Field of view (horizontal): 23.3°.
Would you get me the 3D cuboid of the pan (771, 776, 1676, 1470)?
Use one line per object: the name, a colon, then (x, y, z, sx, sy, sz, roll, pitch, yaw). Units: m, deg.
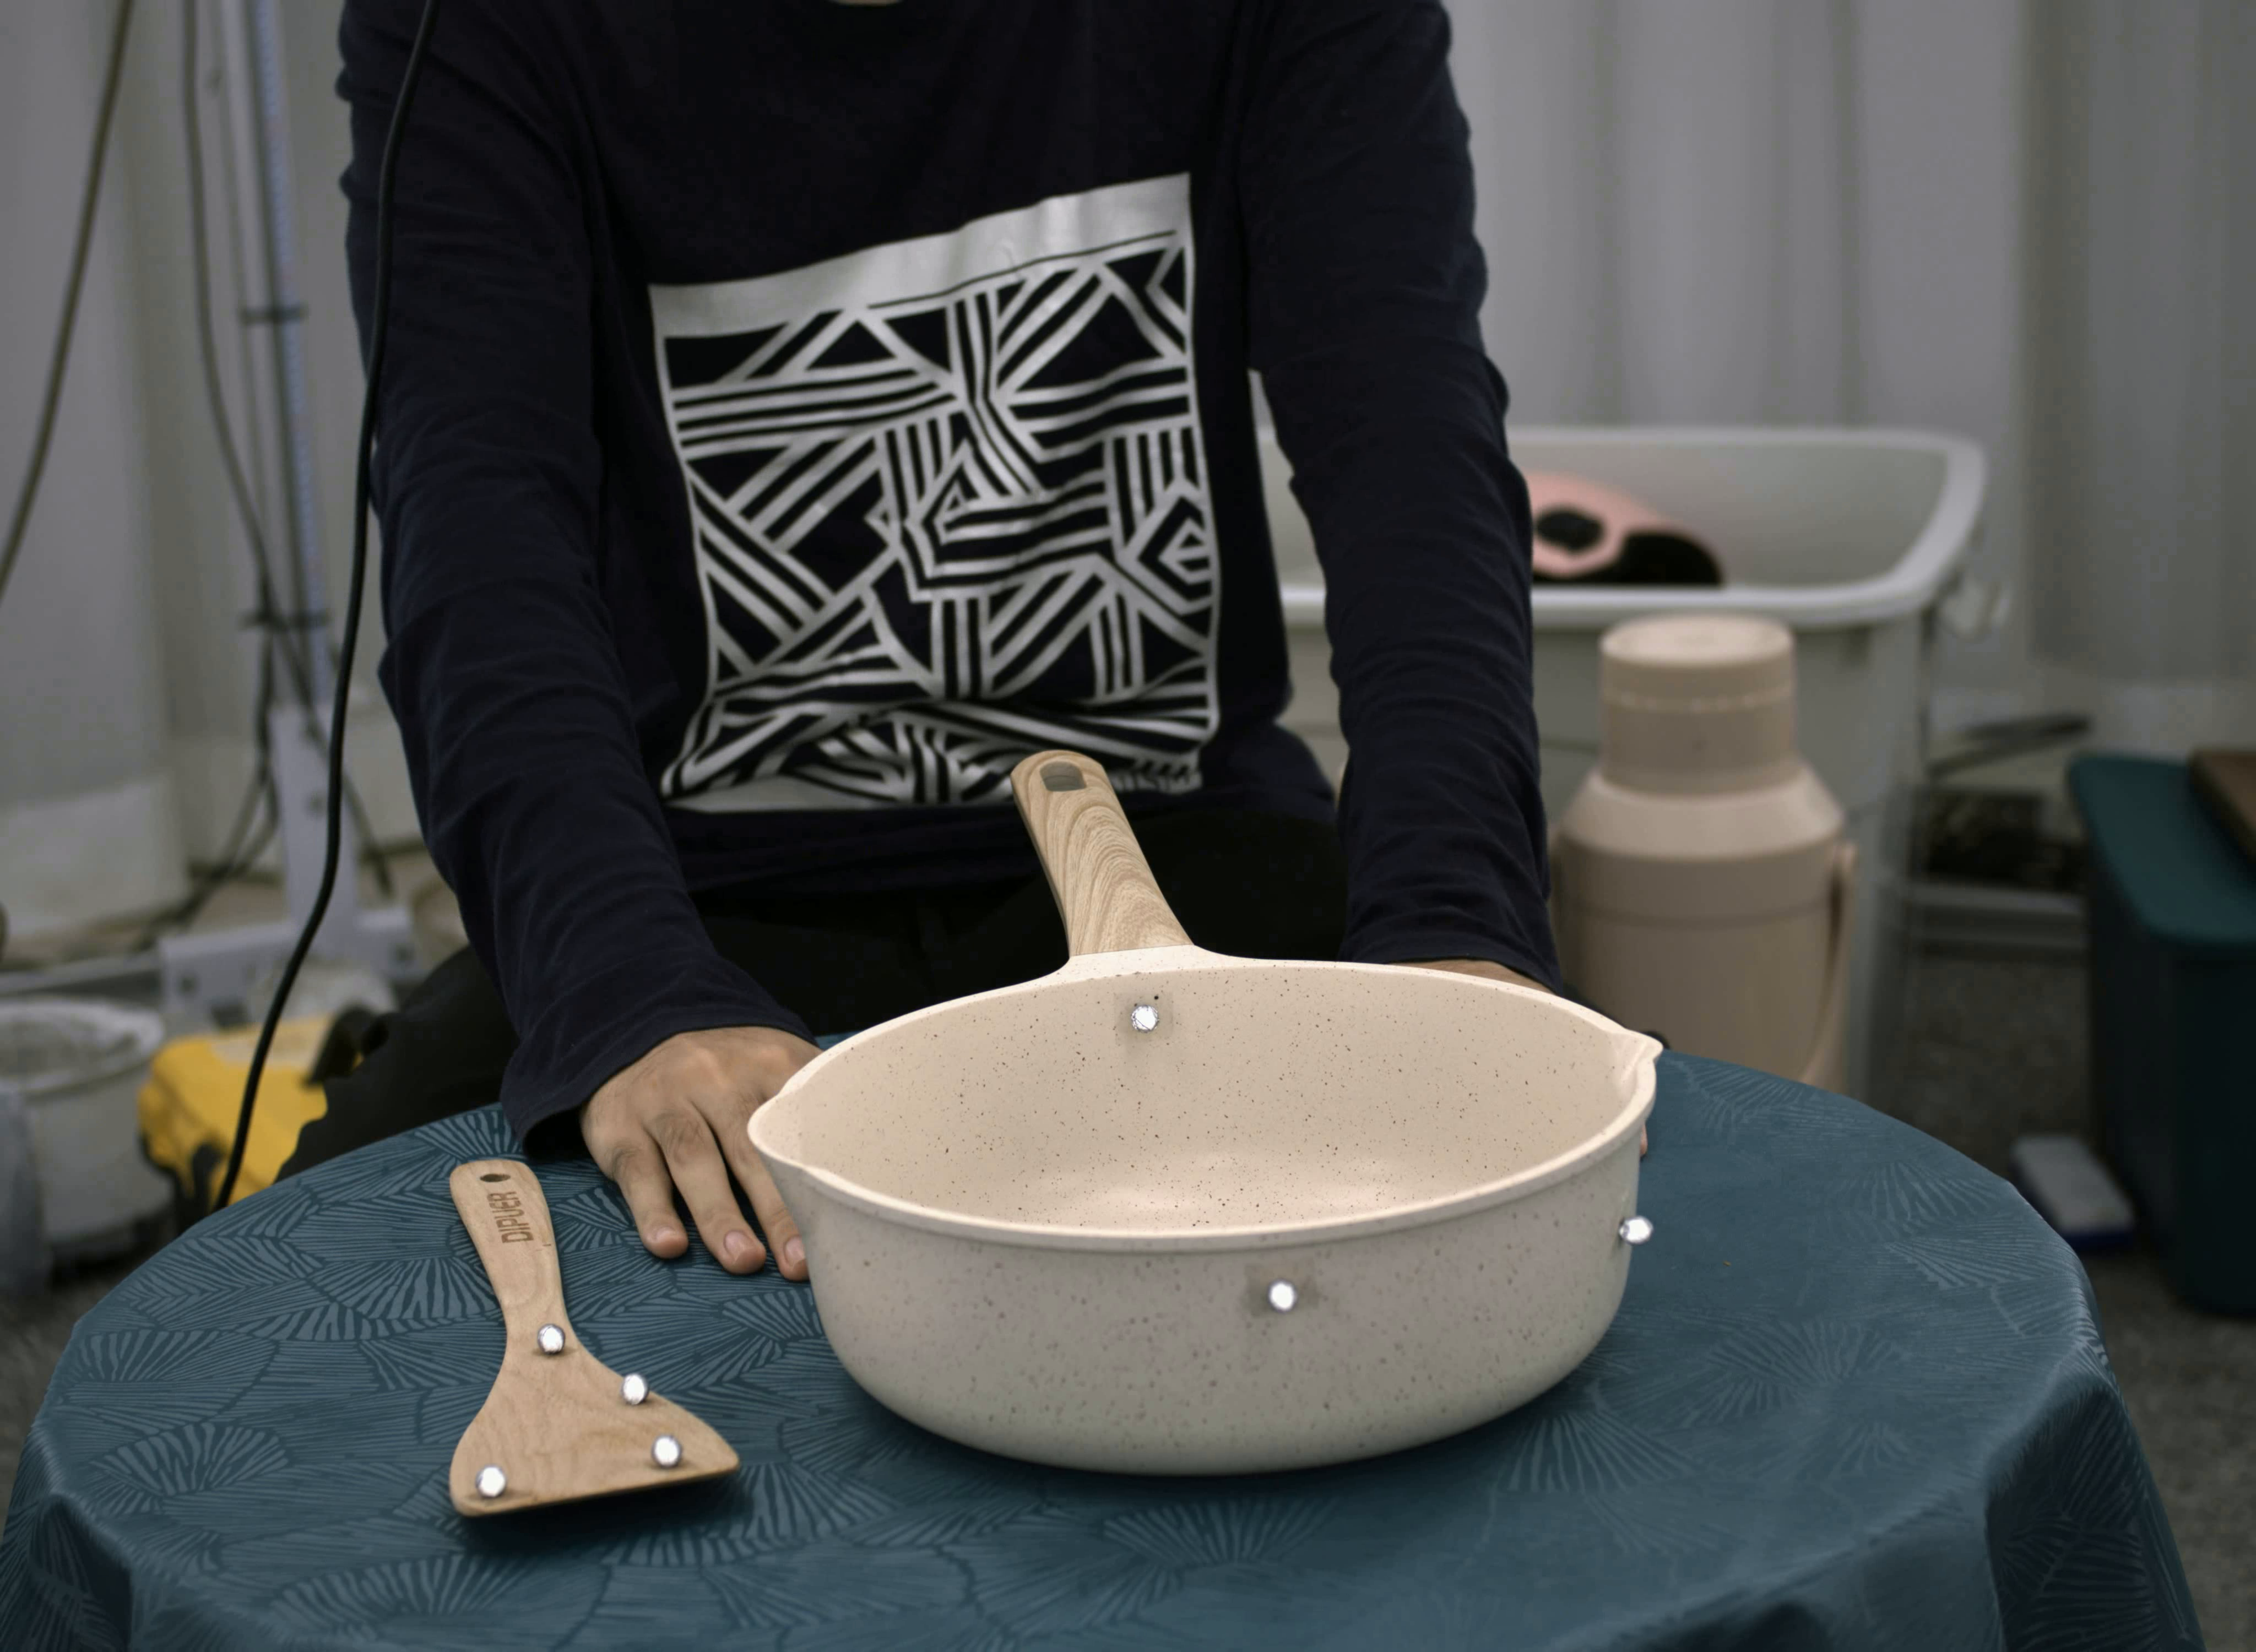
pan: (0.015, 0.083, 1.647, 0.262, 0.101, 0.438, -6, 15, -8)

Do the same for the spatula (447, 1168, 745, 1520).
spatula: (-0.171, 0.147, 1.605, 0.079, 0.016, 0.330, -6, 15, -11)
